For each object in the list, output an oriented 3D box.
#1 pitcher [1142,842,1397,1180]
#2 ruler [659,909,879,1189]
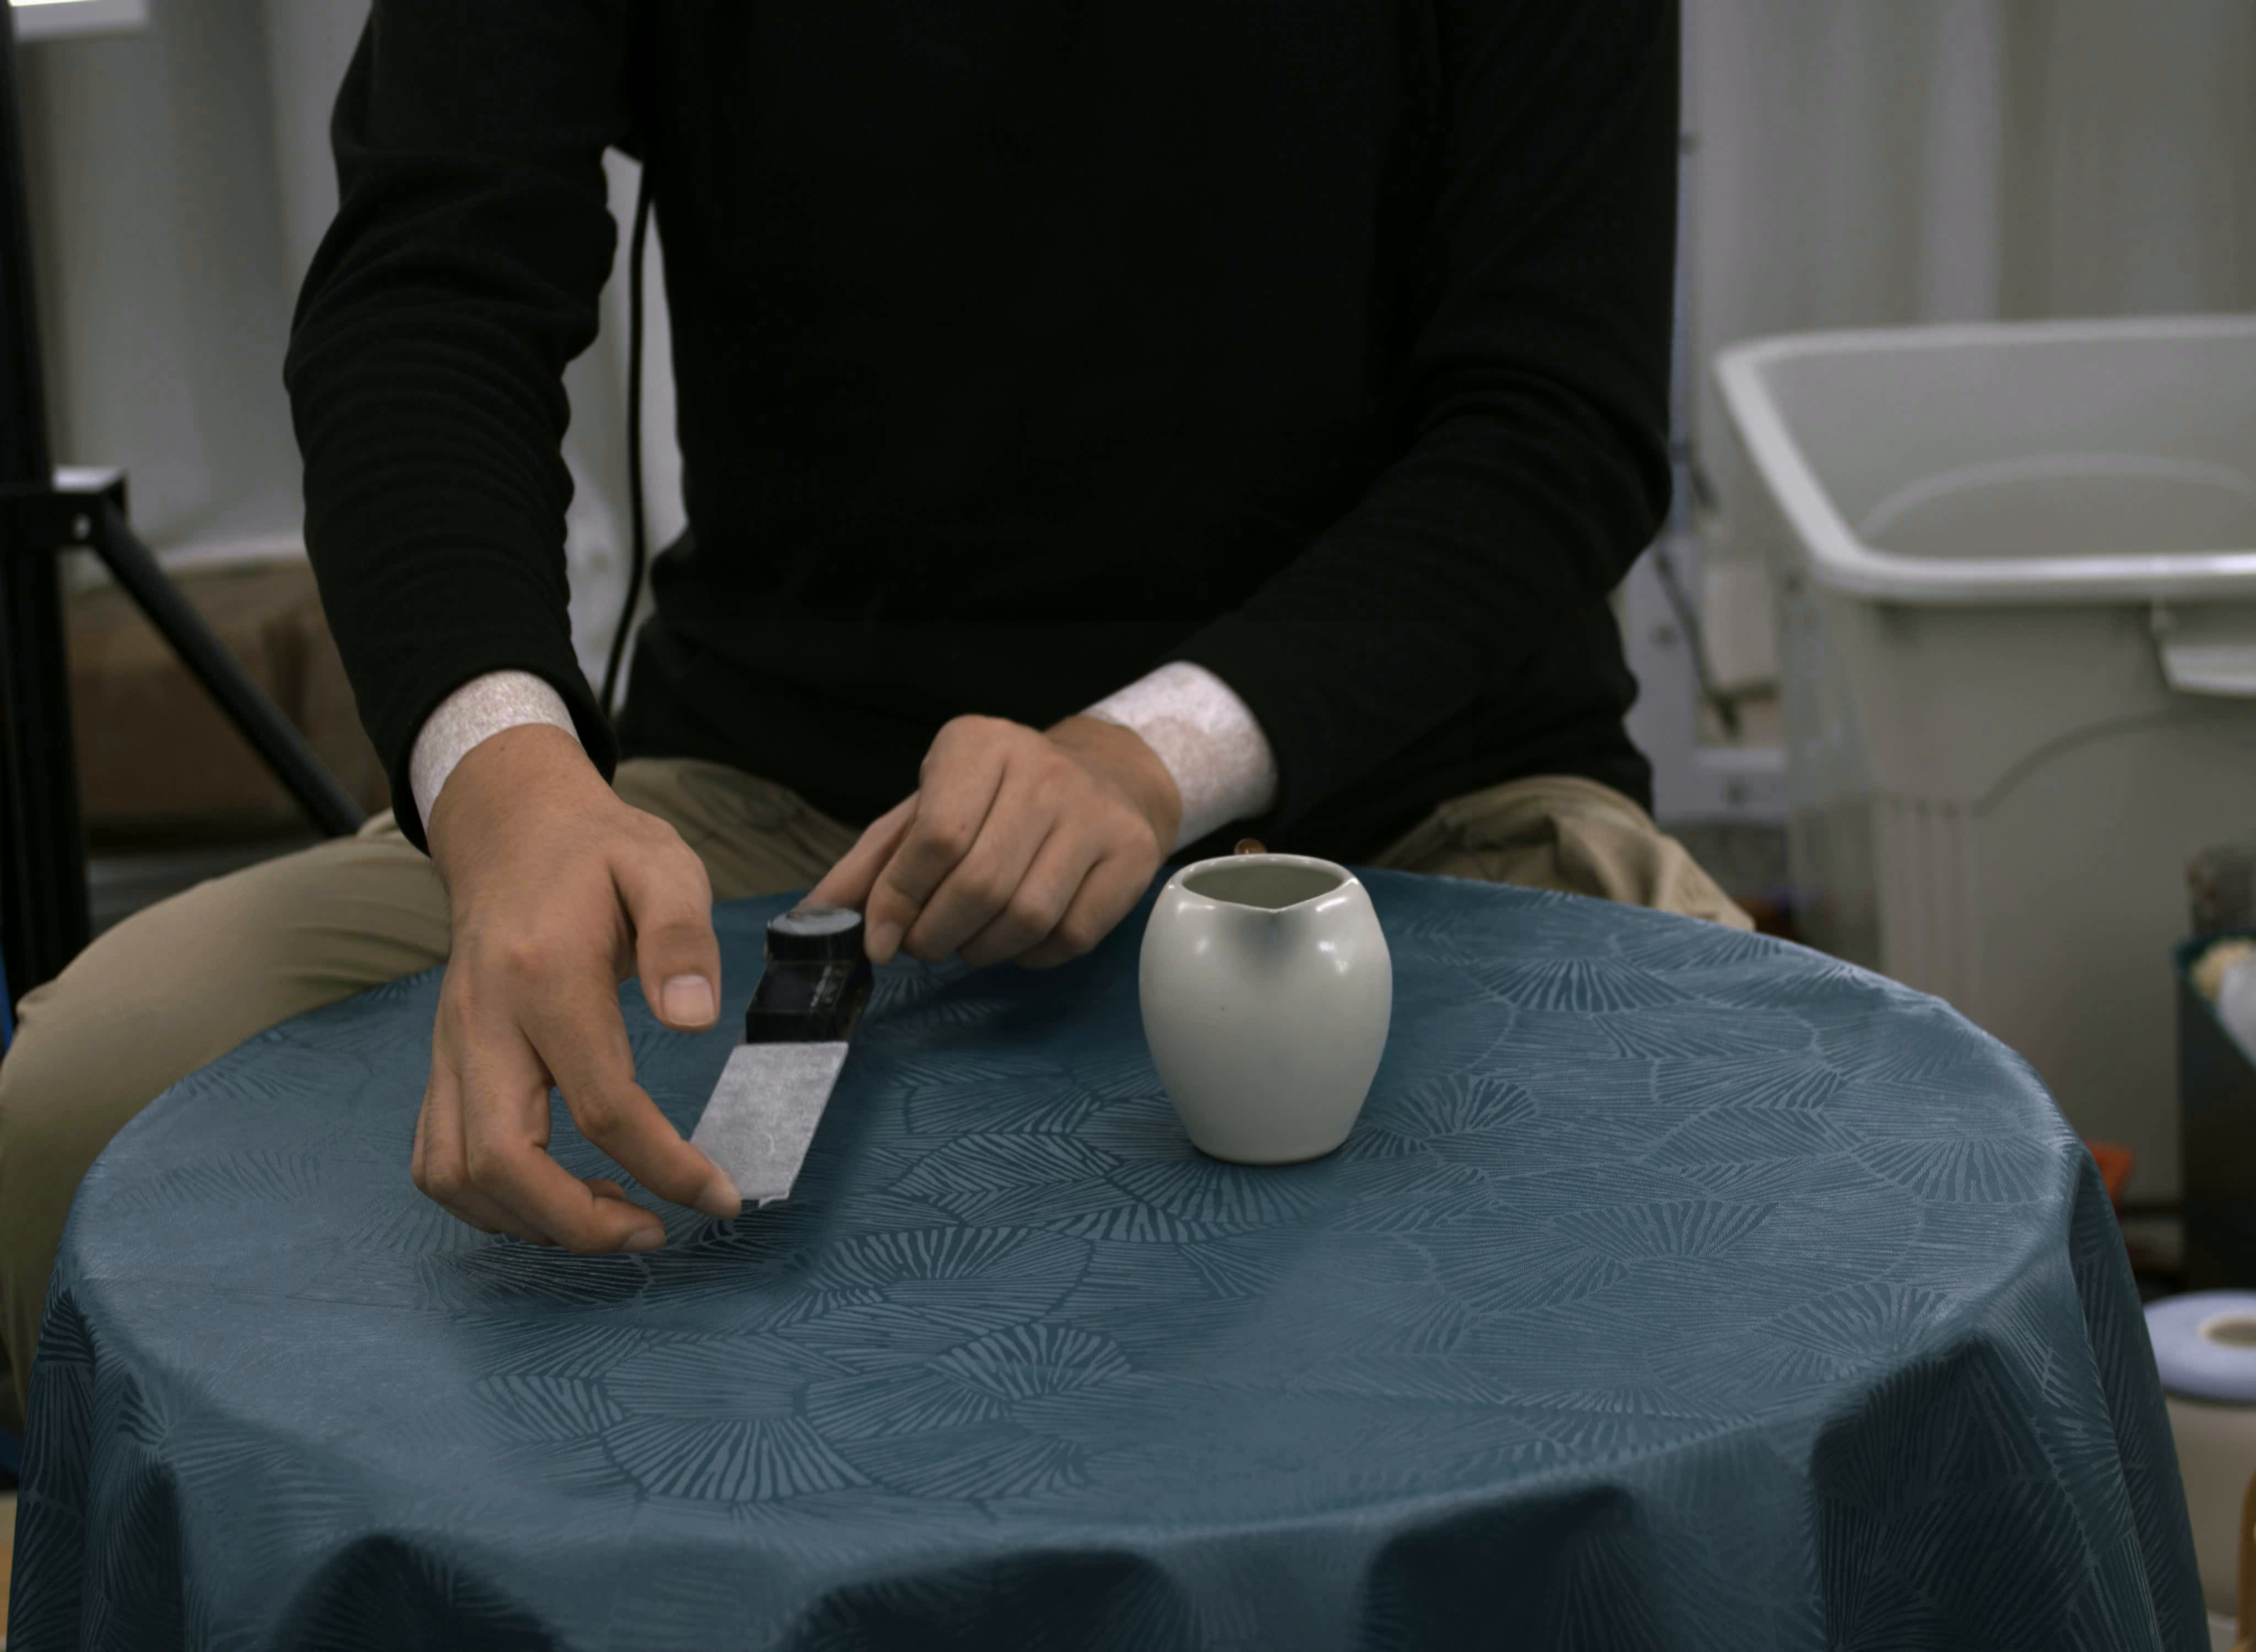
[{"bbox_3d":[0.042,0.054,1.582,0.075,0.088,0.119,2,17,1],"label":"pitcher"},{"bbox_3d":[-0.106,0.065,1.603,0.038,0.024,0.218,-8,14,8],"label":"ruler"}]
